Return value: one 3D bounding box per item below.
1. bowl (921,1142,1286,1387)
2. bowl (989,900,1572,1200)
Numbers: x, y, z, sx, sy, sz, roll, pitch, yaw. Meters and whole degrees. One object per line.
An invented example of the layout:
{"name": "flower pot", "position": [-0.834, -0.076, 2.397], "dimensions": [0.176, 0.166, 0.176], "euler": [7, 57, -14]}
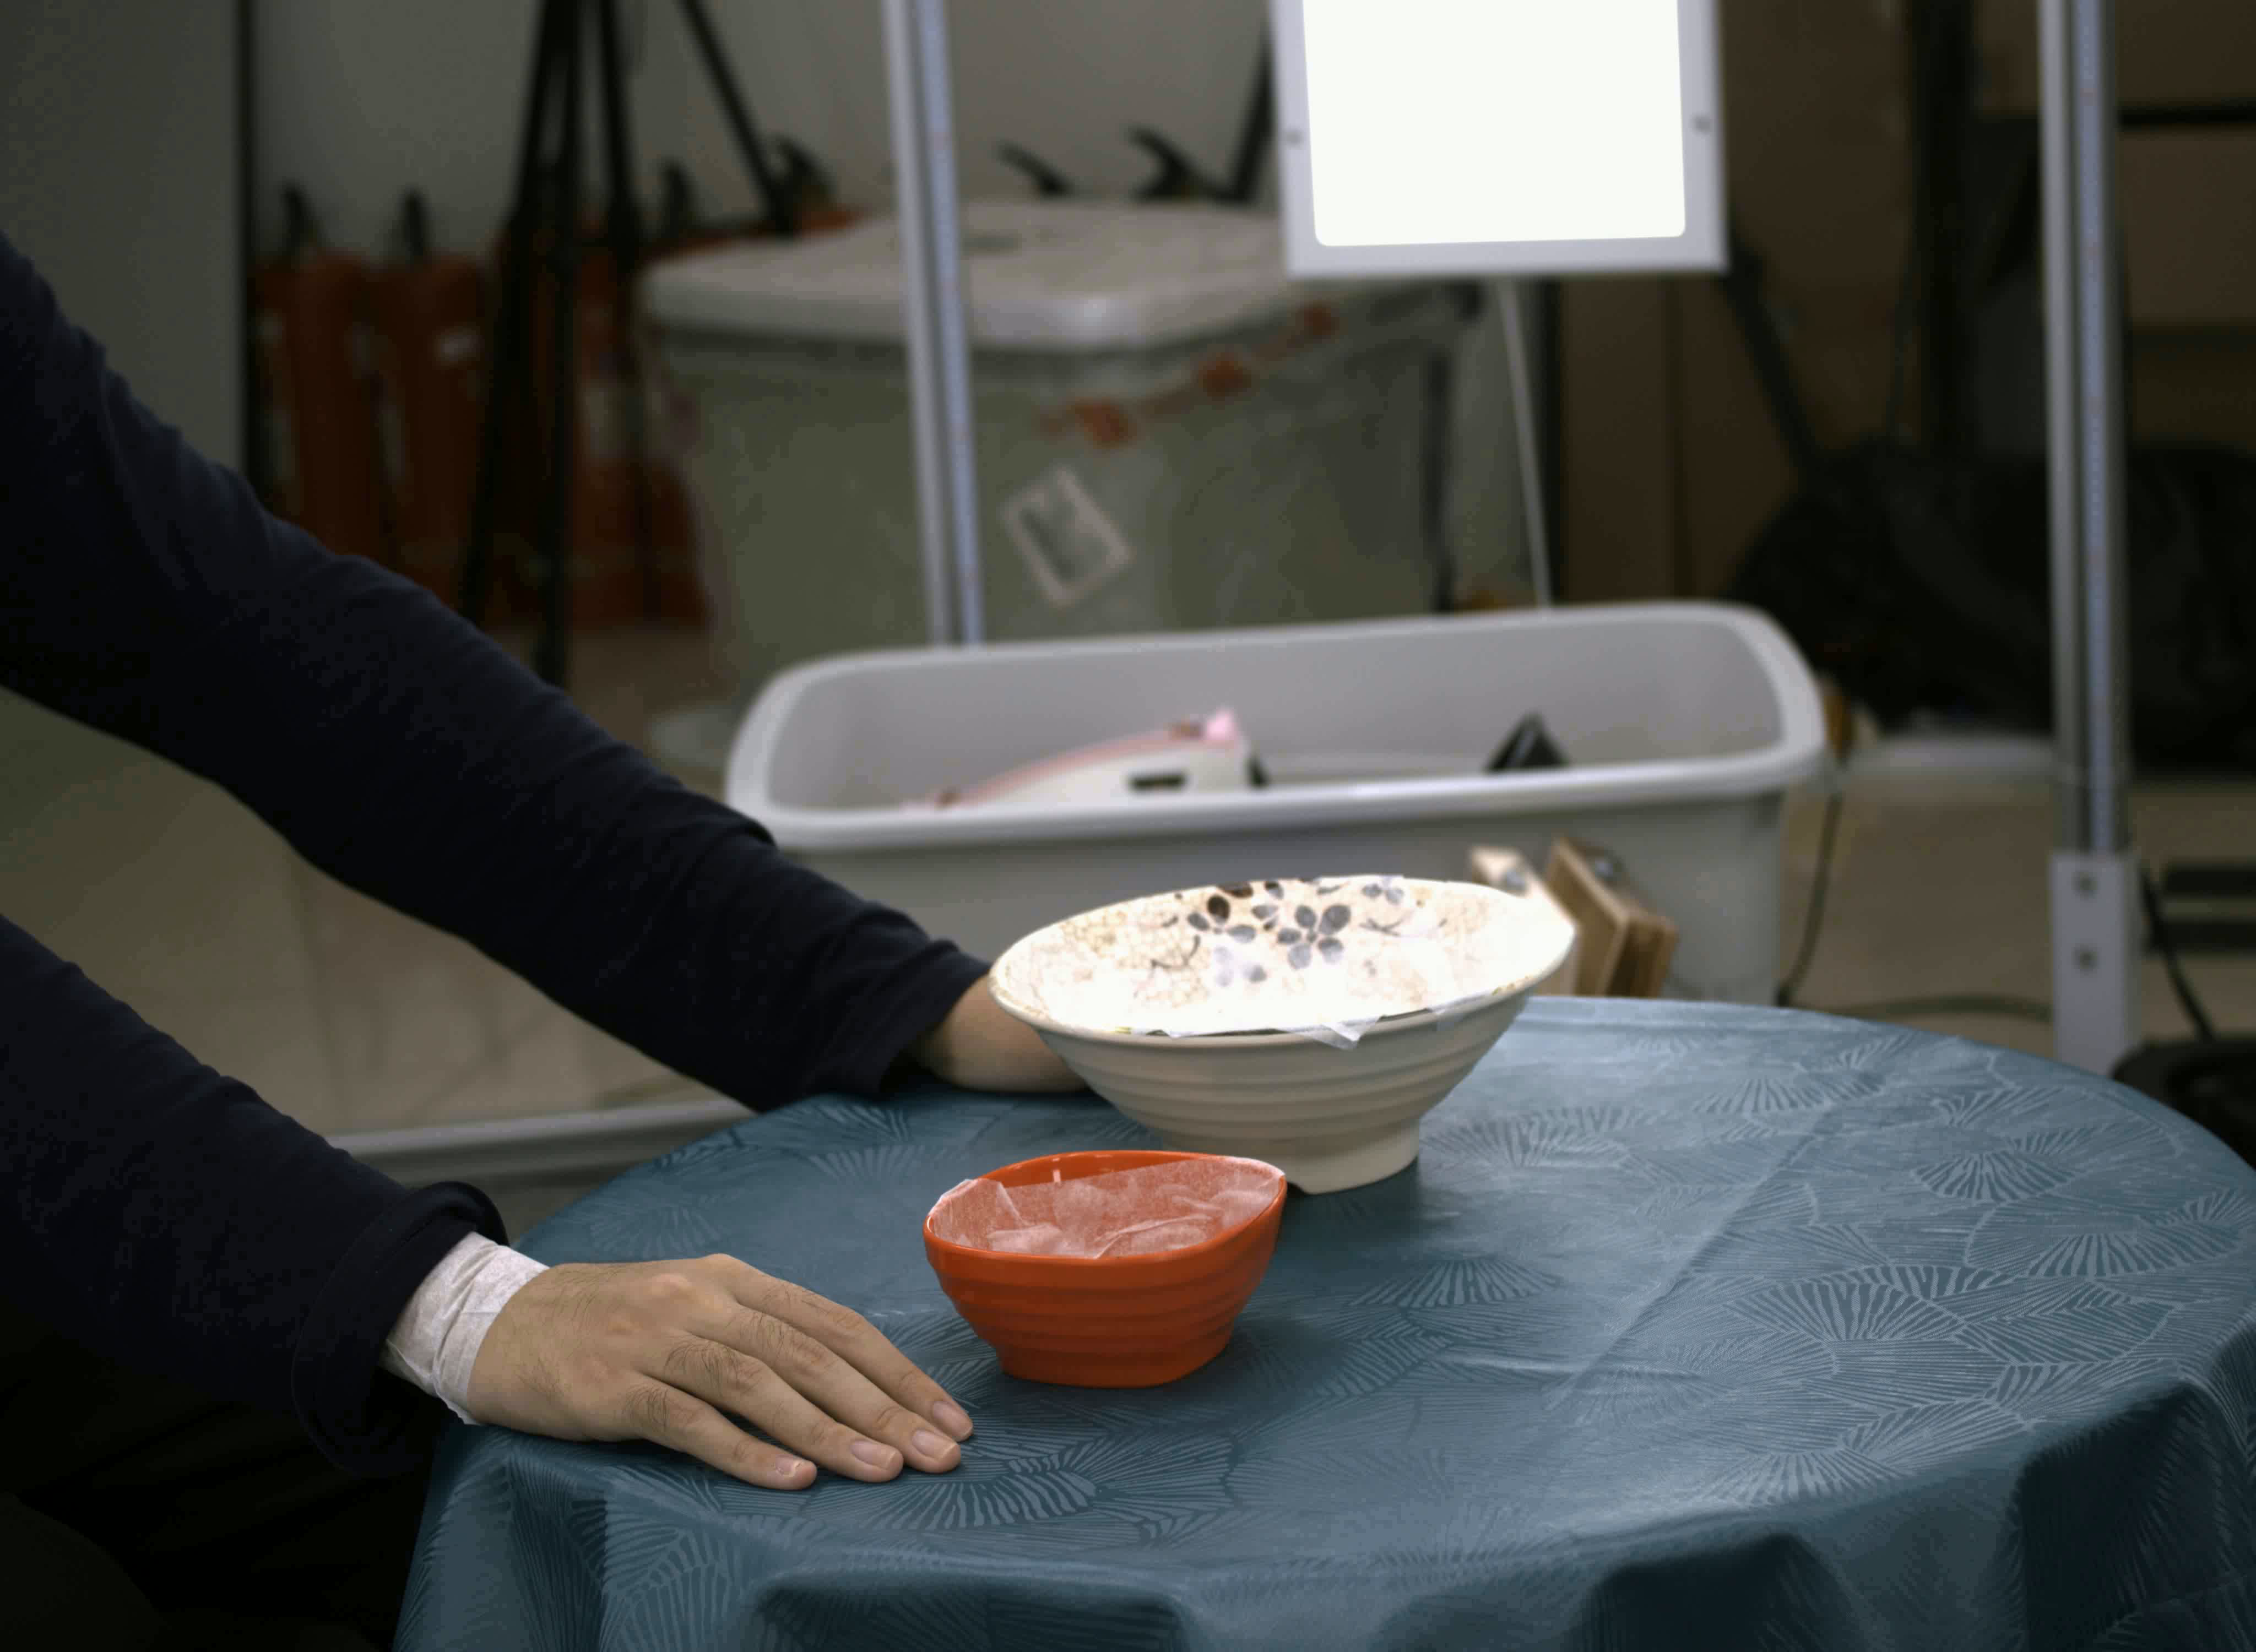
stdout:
{"name": "bowl", "position": [-0.006, 0.141, 1.736], "dimensions": [0.118, 0.051, 0.119], "euler": [-5, 16, 0]}
{"name": "bowl", "position": [0.057, 0.083, 1.908], "dimensions": [0.203, 0.078, 0.204], "euler": [-7, 10, 0]}
